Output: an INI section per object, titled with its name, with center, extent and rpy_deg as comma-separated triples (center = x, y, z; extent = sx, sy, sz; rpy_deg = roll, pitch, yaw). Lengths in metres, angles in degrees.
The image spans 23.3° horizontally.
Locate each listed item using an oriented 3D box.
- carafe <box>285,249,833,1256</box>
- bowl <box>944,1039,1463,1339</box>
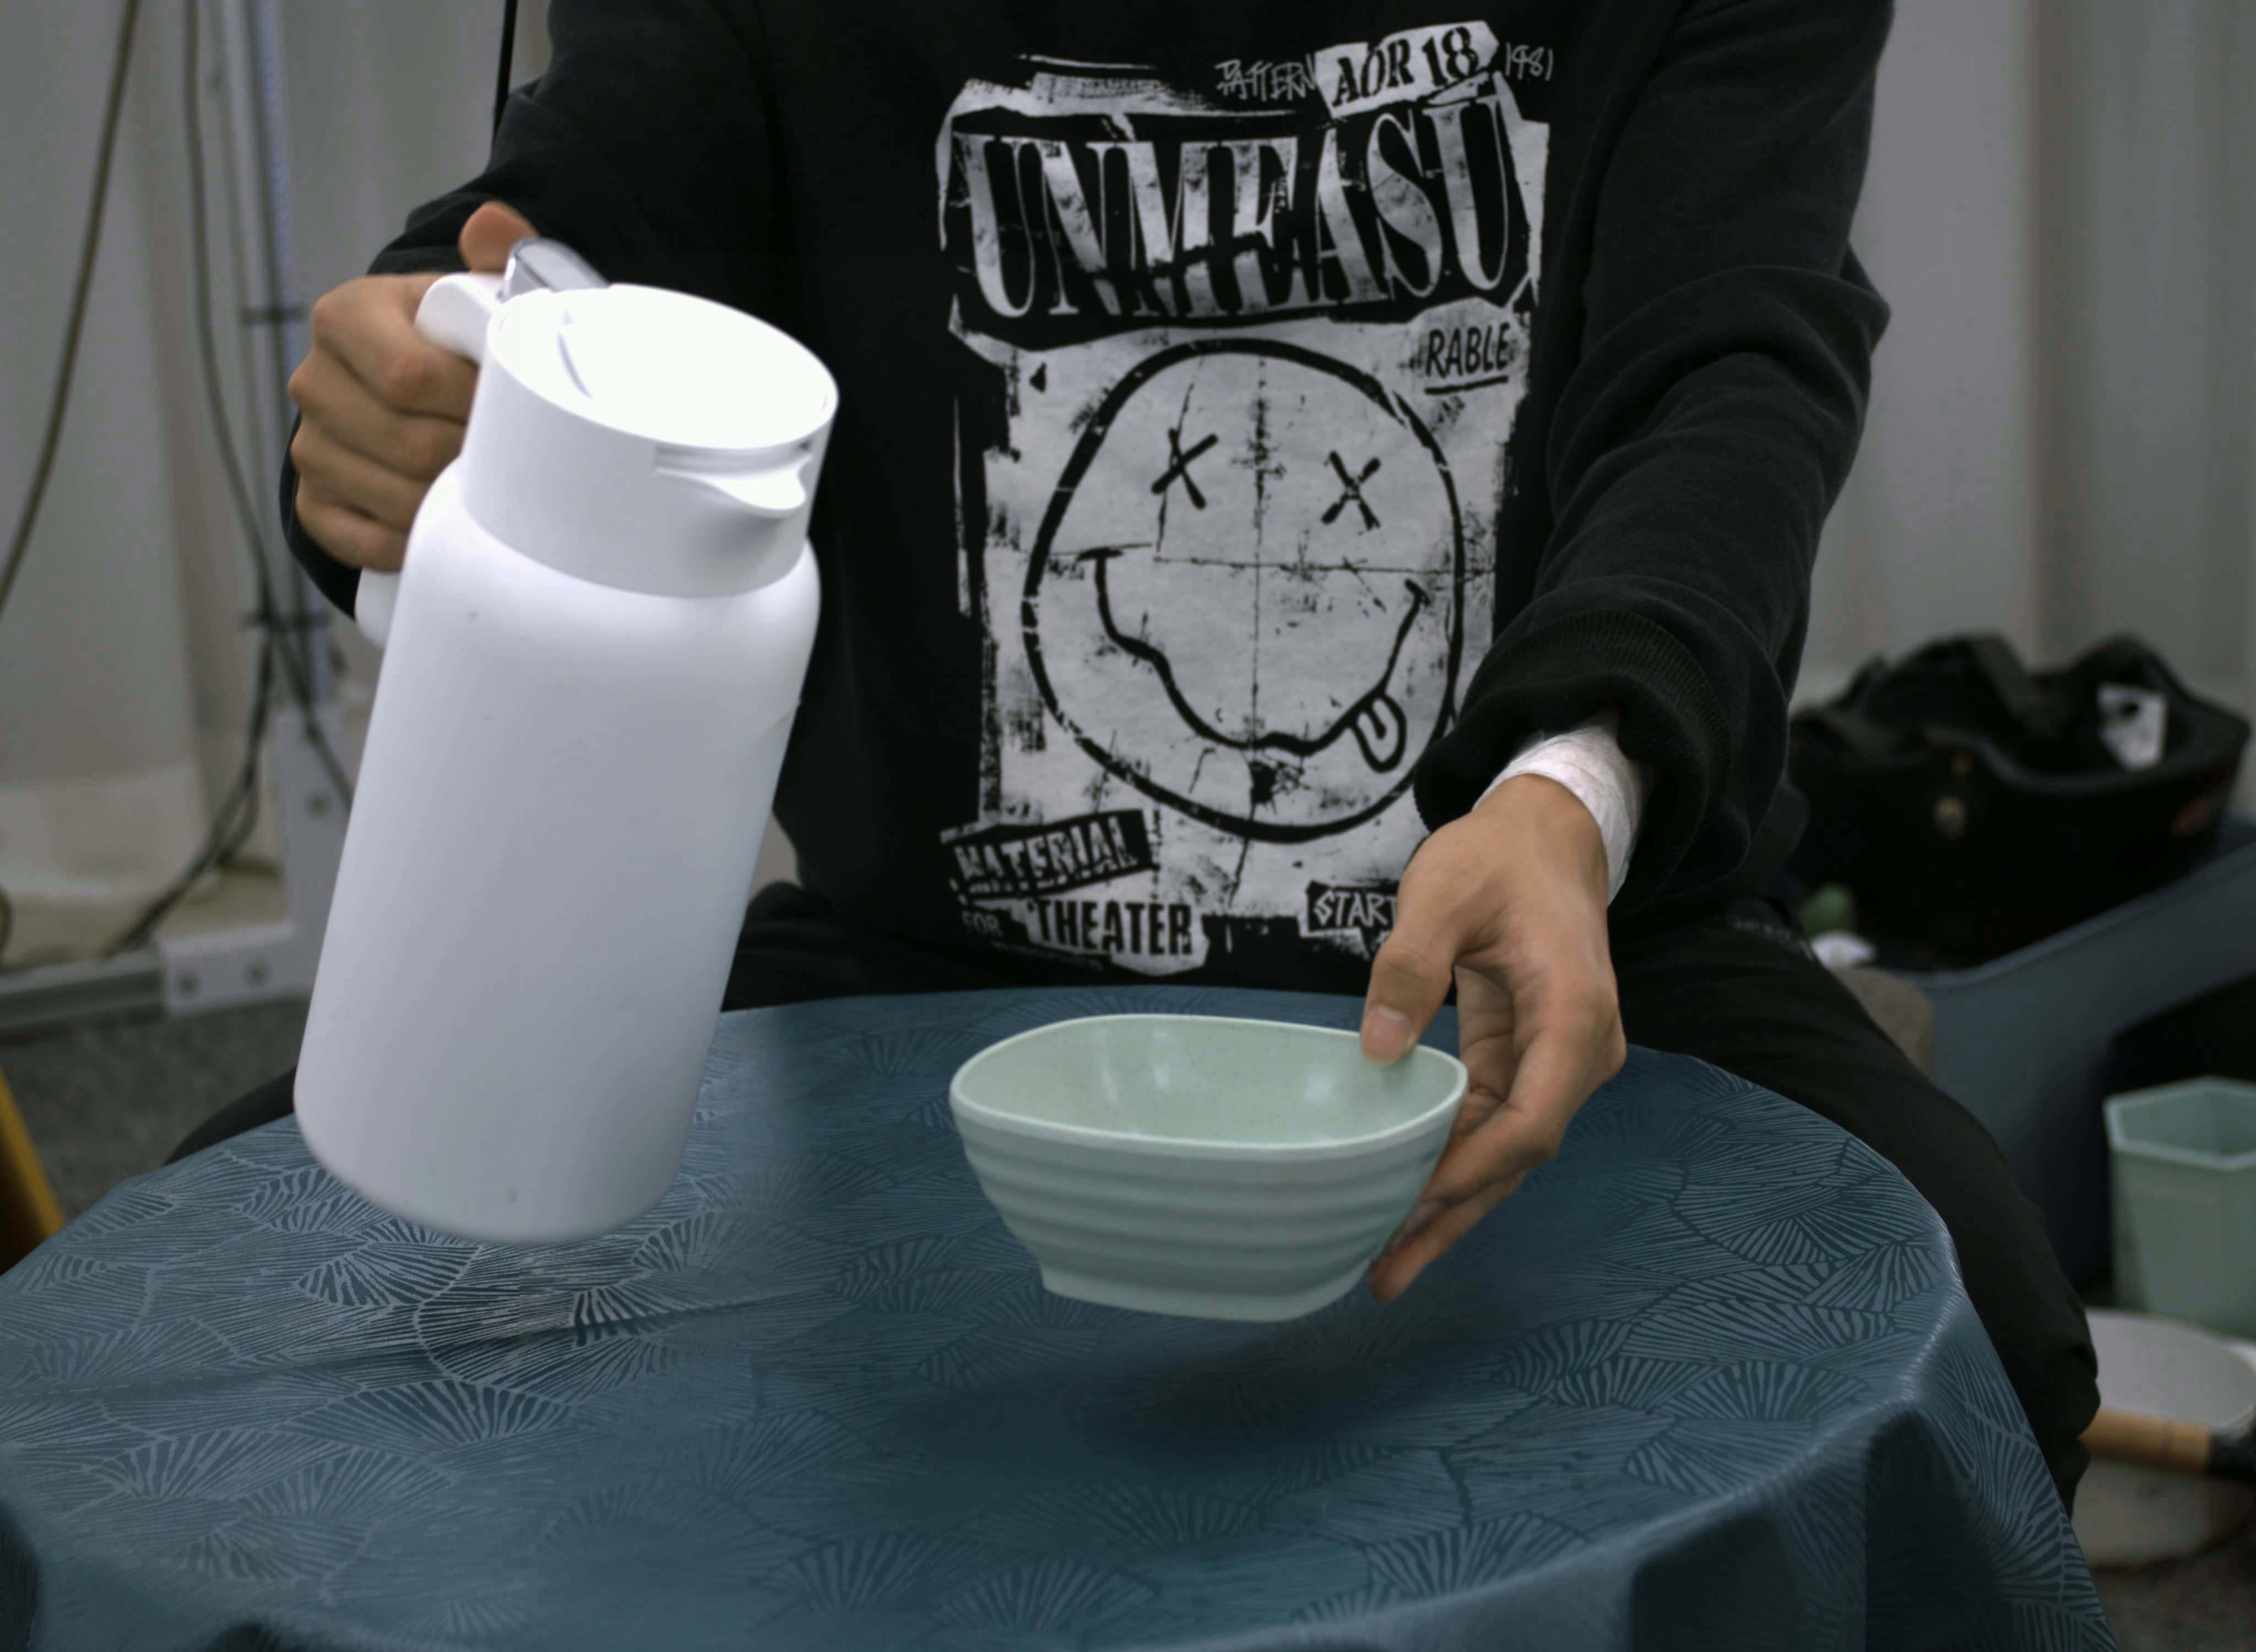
[carafe]
center = -0.172, -0.024, 1.577
extent = 0.123, 0.266, 0.175
rpy_deg = -9, 35, -37
[bowl]
center = 0.021, 0.103, 1.521
extent = 0.151, 0.058, 0.152
rpy_deg = 1, 9, 0
